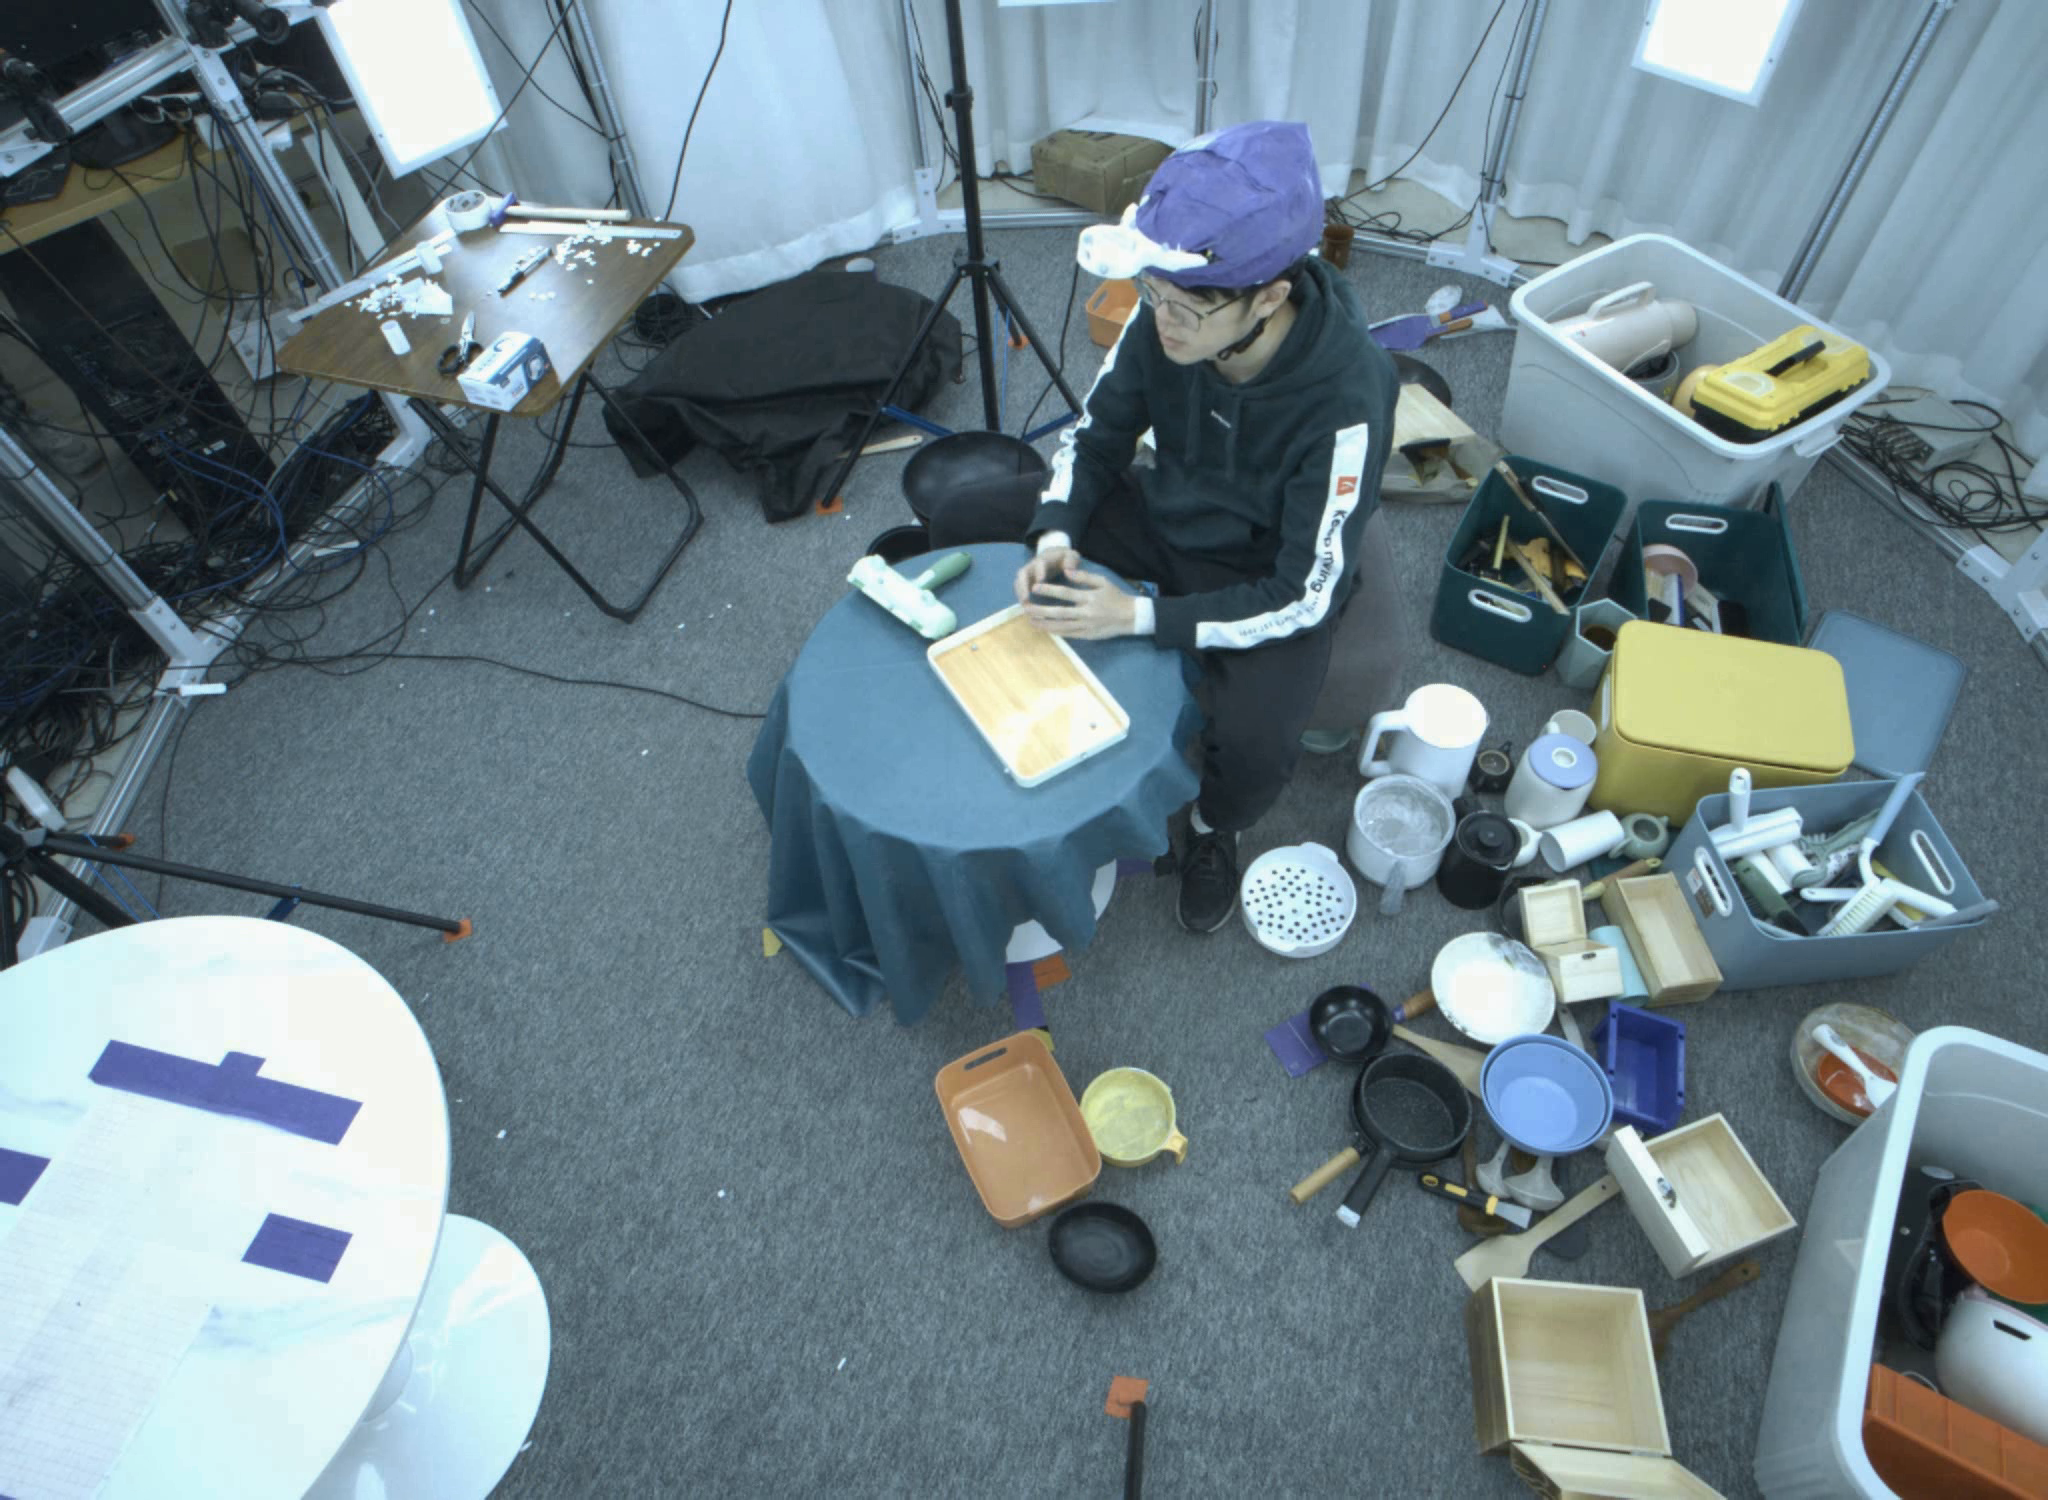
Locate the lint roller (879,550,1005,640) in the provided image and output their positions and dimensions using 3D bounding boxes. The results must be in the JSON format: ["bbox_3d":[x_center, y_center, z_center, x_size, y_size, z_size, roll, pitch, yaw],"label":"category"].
[{"bbox_3d":[-0.104,-0.279,1.937,0.184,0.083,0.195,-42,63,-19],"label":"lint roller"}]

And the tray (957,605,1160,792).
[{"bbox_3d":[0.047,-0.082,1.823,0.193,0.028,0.294,-25,58,-16],"label":"tray"}]
